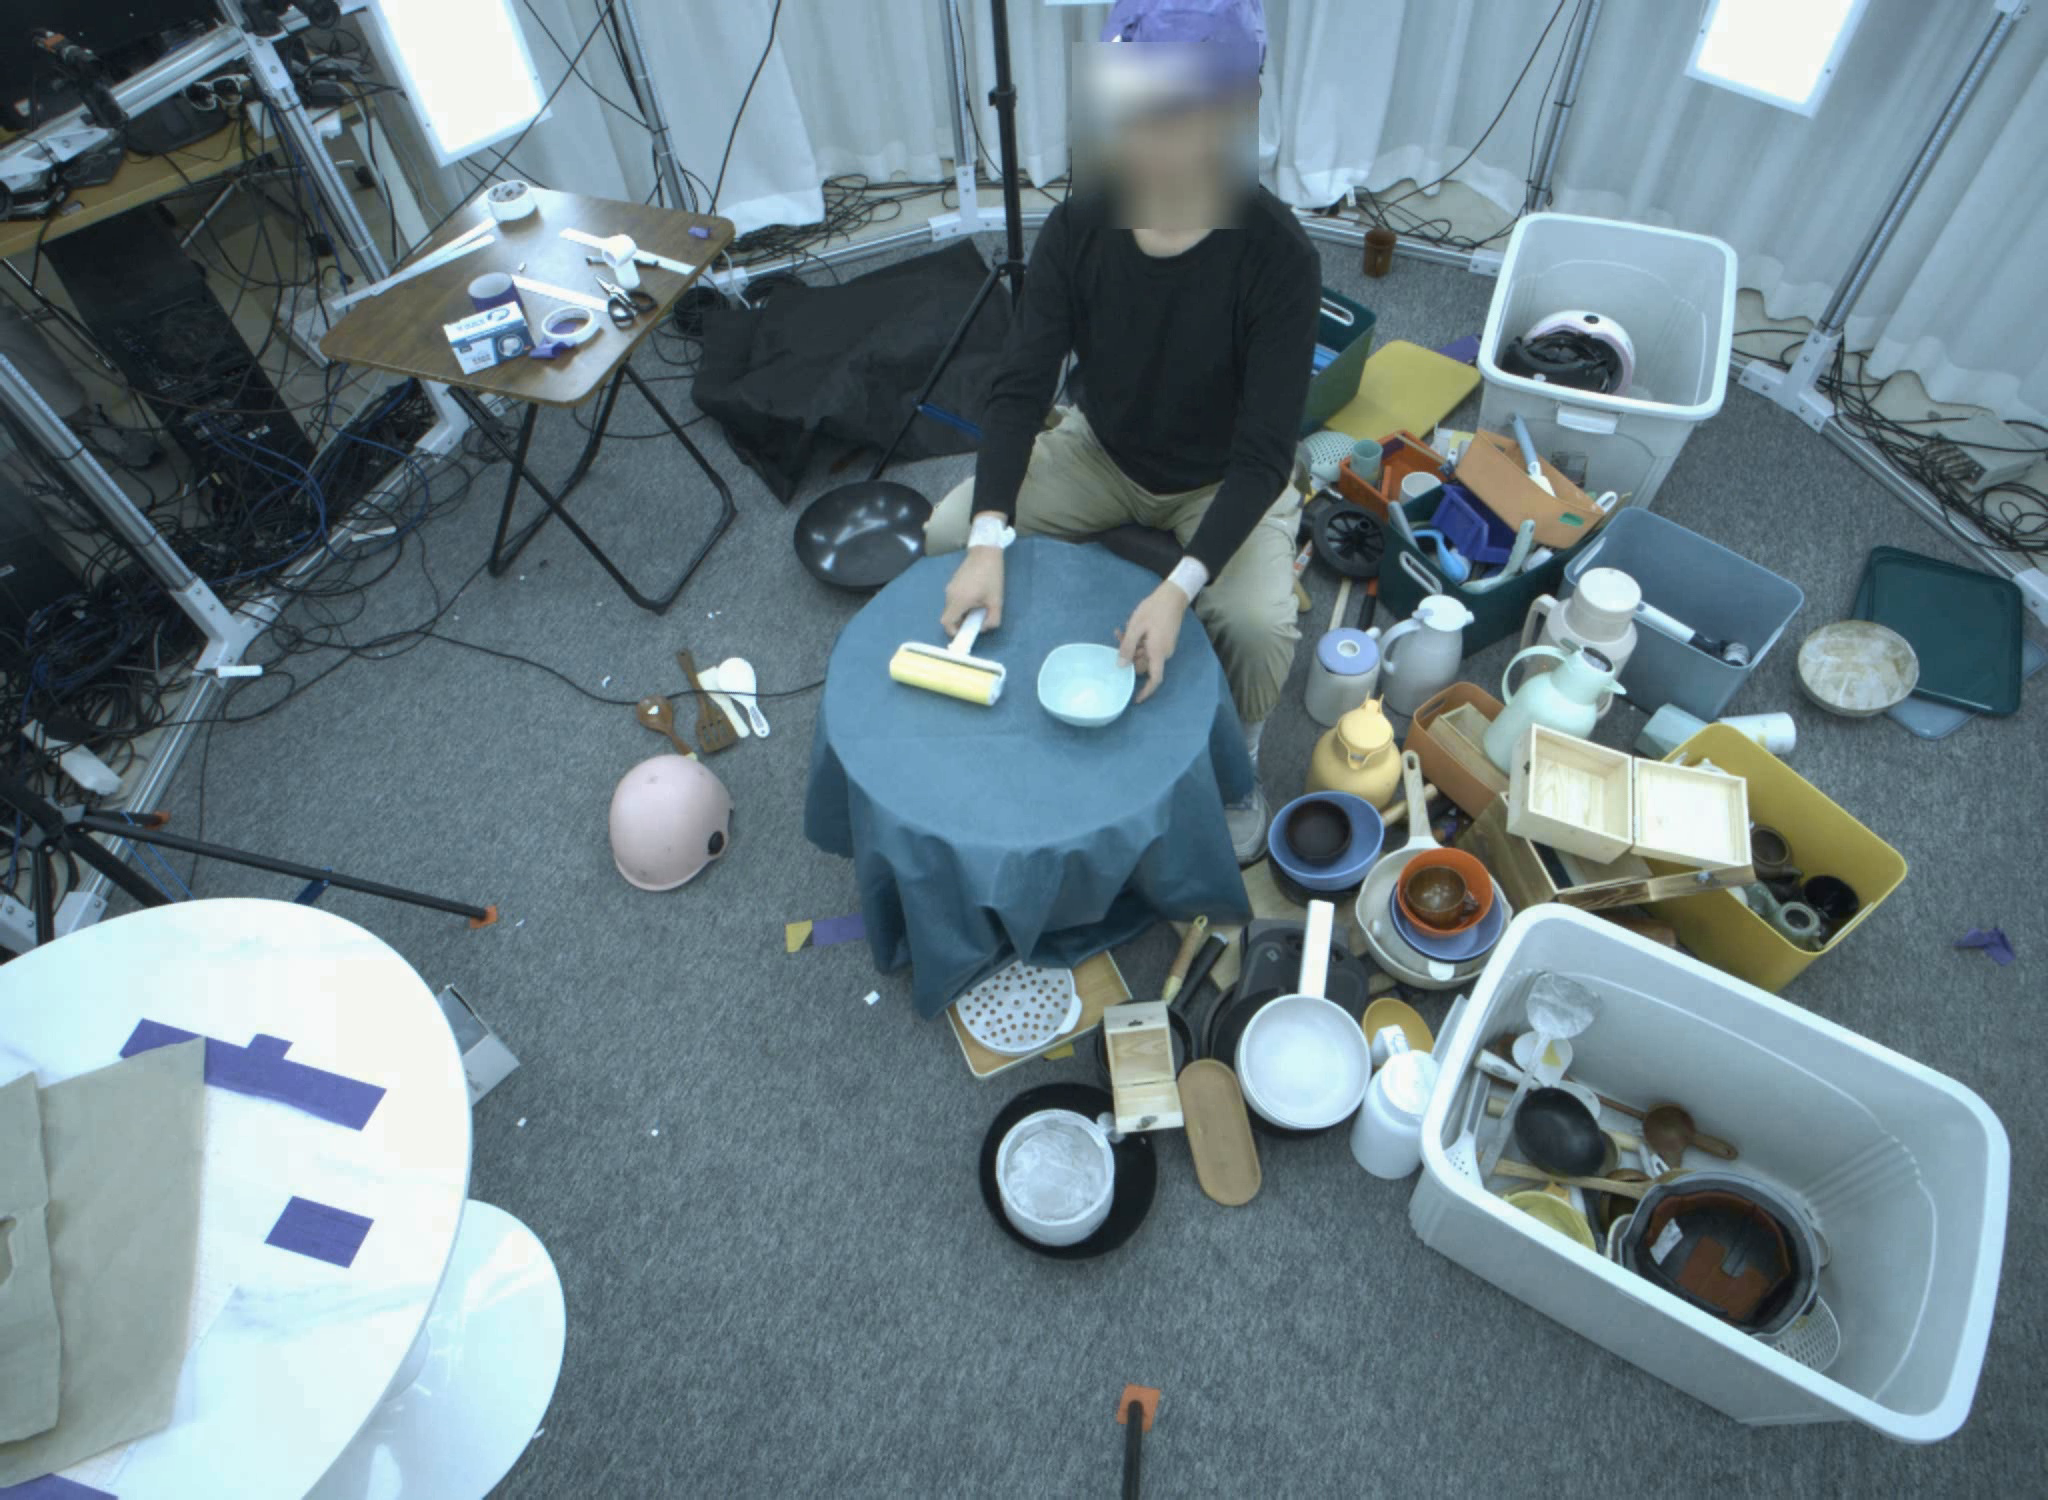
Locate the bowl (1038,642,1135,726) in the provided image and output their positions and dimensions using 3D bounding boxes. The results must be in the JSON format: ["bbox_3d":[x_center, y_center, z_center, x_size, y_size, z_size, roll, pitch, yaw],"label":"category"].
[{"bbox_3d":[0.093,-0.087,1.811,0.151,0.059,0.150,-1,56,3],"label":"bowl"}]

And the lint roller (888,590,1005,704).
[{"bbox_3d":[-0.098,-0.171,1.868,0.172,0.052,0.191,14,69,12],"label":"lint roller"}]
